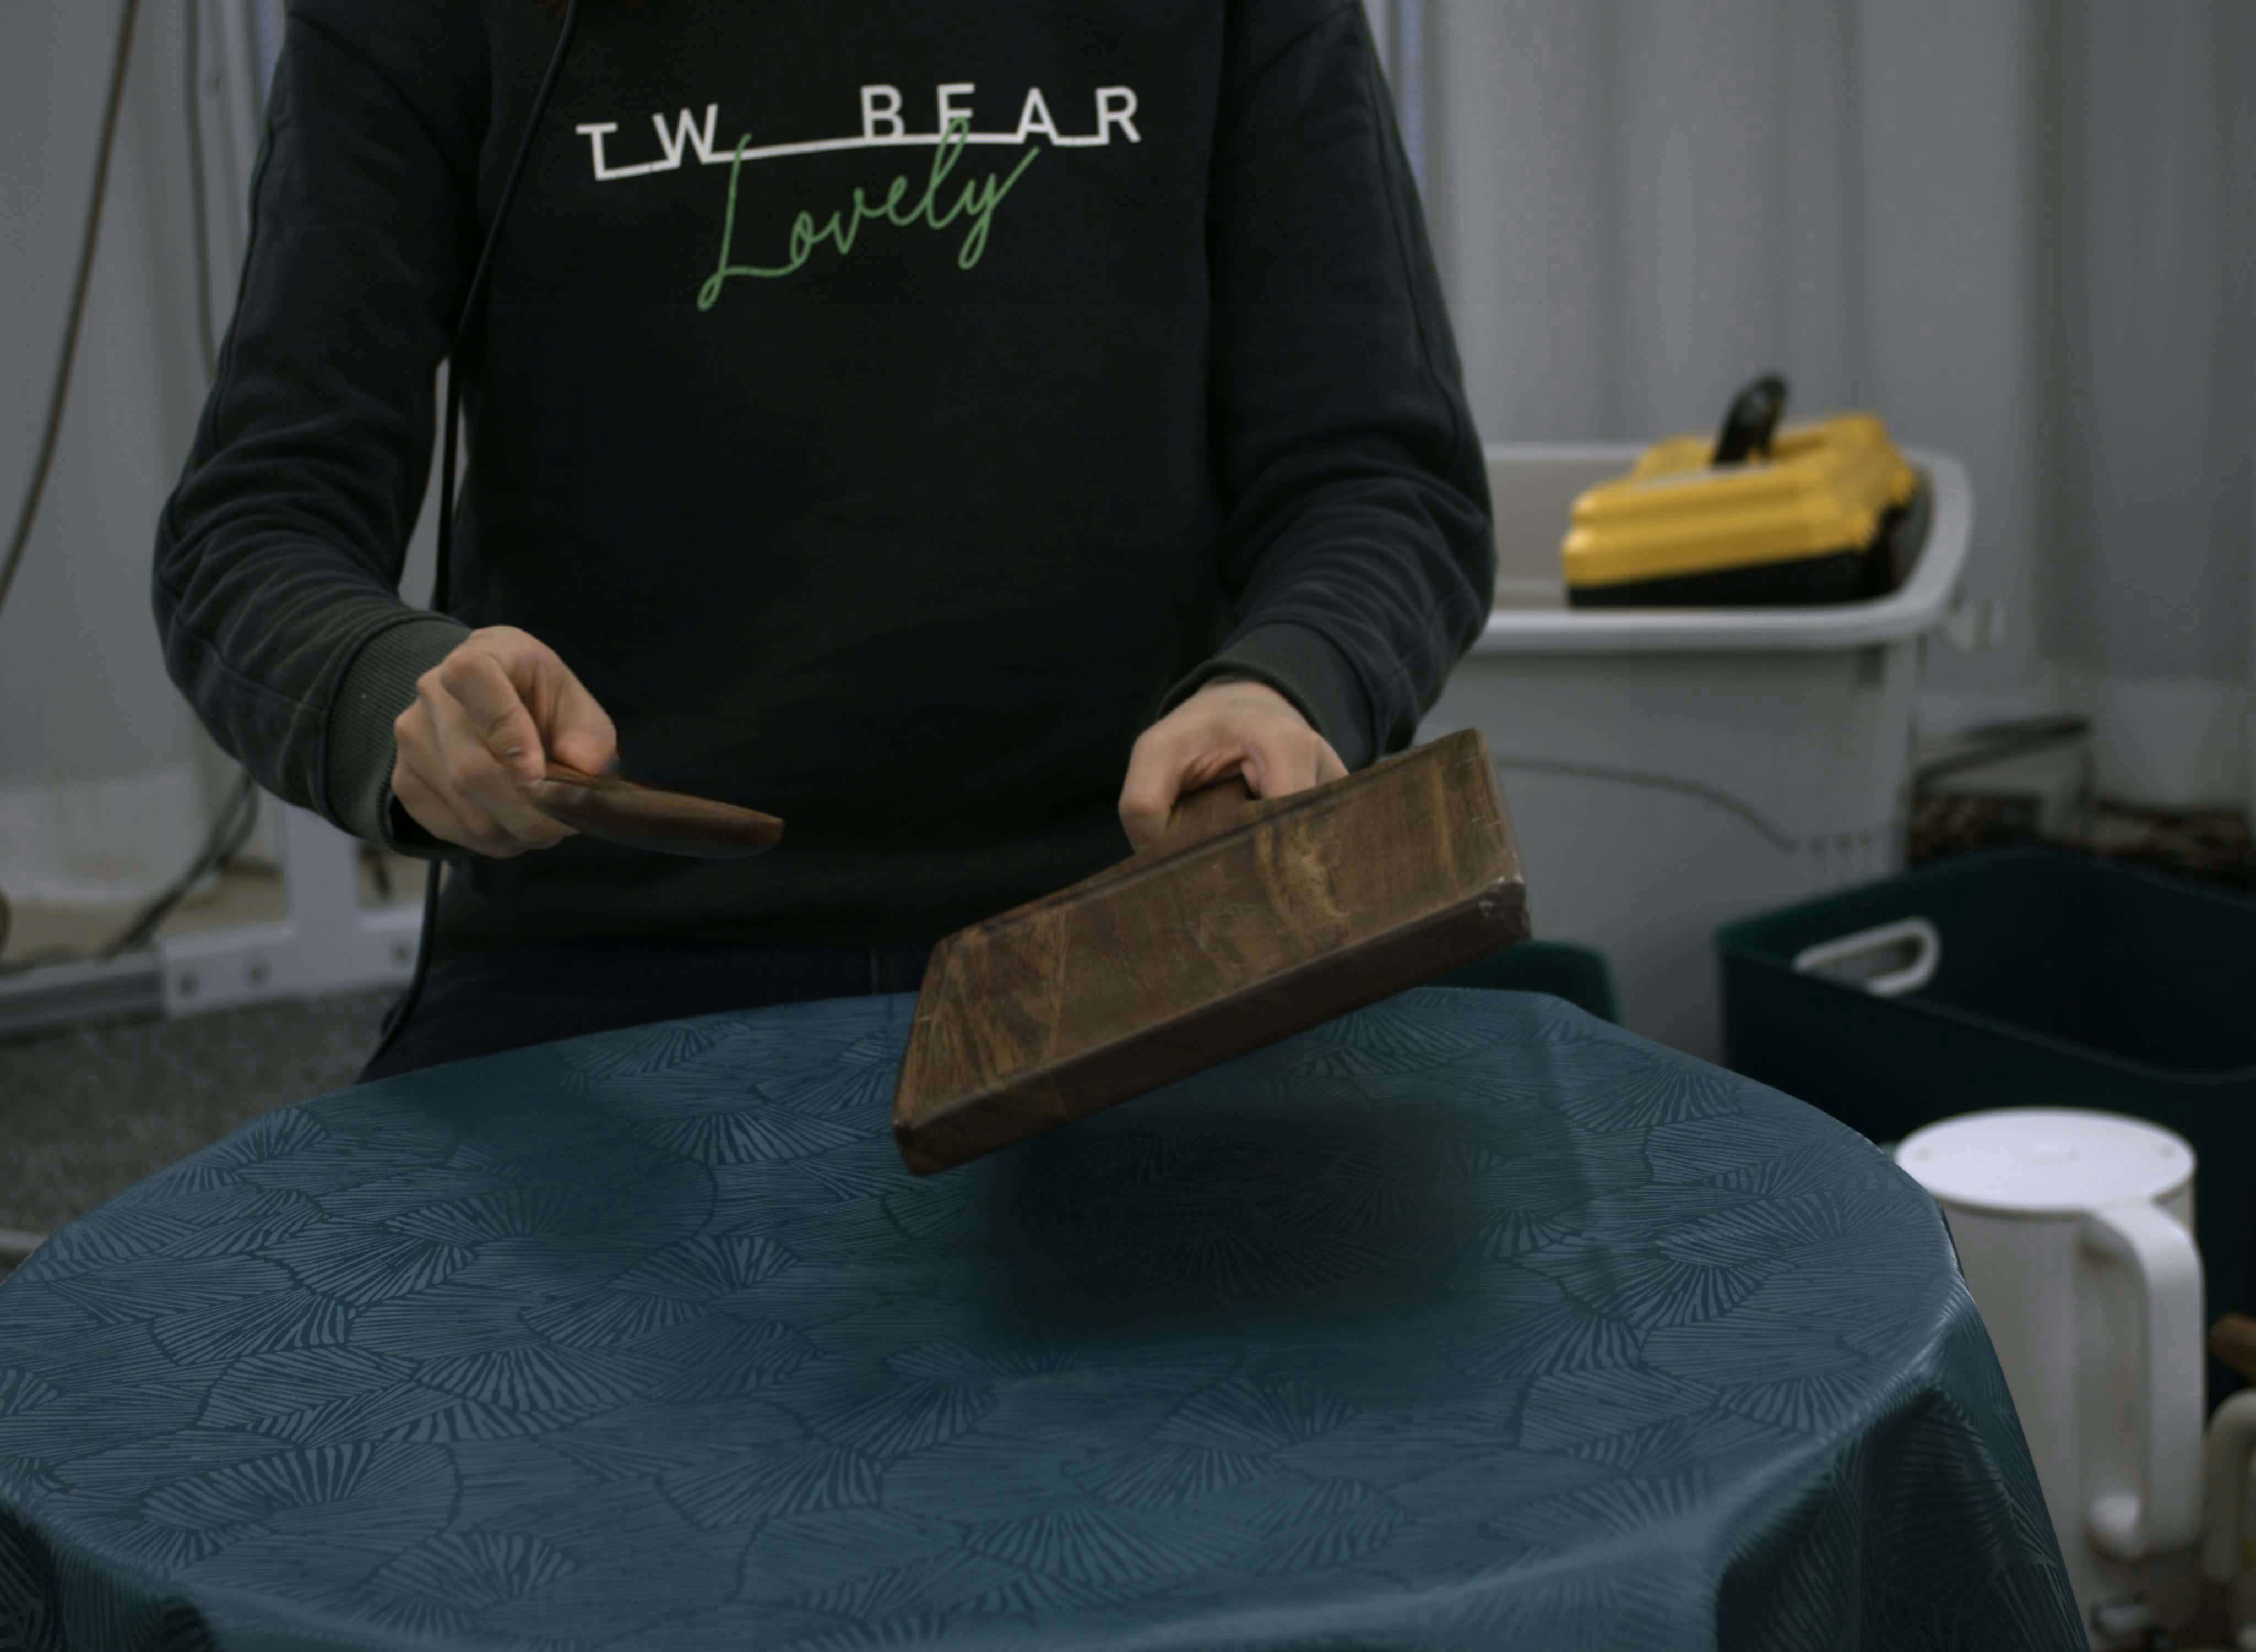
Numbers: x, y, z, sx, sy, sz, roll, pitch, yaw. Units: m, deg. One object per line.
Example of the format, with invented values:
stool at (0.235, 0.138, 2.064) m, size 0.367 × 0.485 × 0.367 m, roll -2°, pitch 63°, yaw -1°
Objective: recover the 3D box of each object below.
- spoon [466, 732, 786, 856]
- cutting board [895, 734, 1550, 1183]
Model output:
spoon at (-0.163, -0.009, 1.668) m, size 0.075 × 0.017 × 0.217 m, roll 7°, pitch 4°, yaw -23°
cutting board at (0.028, 0.026, 1.720) m, size 0.200 × 0.023 × 0.354 m, roll -22°, pitch 10°, yaw 5°
